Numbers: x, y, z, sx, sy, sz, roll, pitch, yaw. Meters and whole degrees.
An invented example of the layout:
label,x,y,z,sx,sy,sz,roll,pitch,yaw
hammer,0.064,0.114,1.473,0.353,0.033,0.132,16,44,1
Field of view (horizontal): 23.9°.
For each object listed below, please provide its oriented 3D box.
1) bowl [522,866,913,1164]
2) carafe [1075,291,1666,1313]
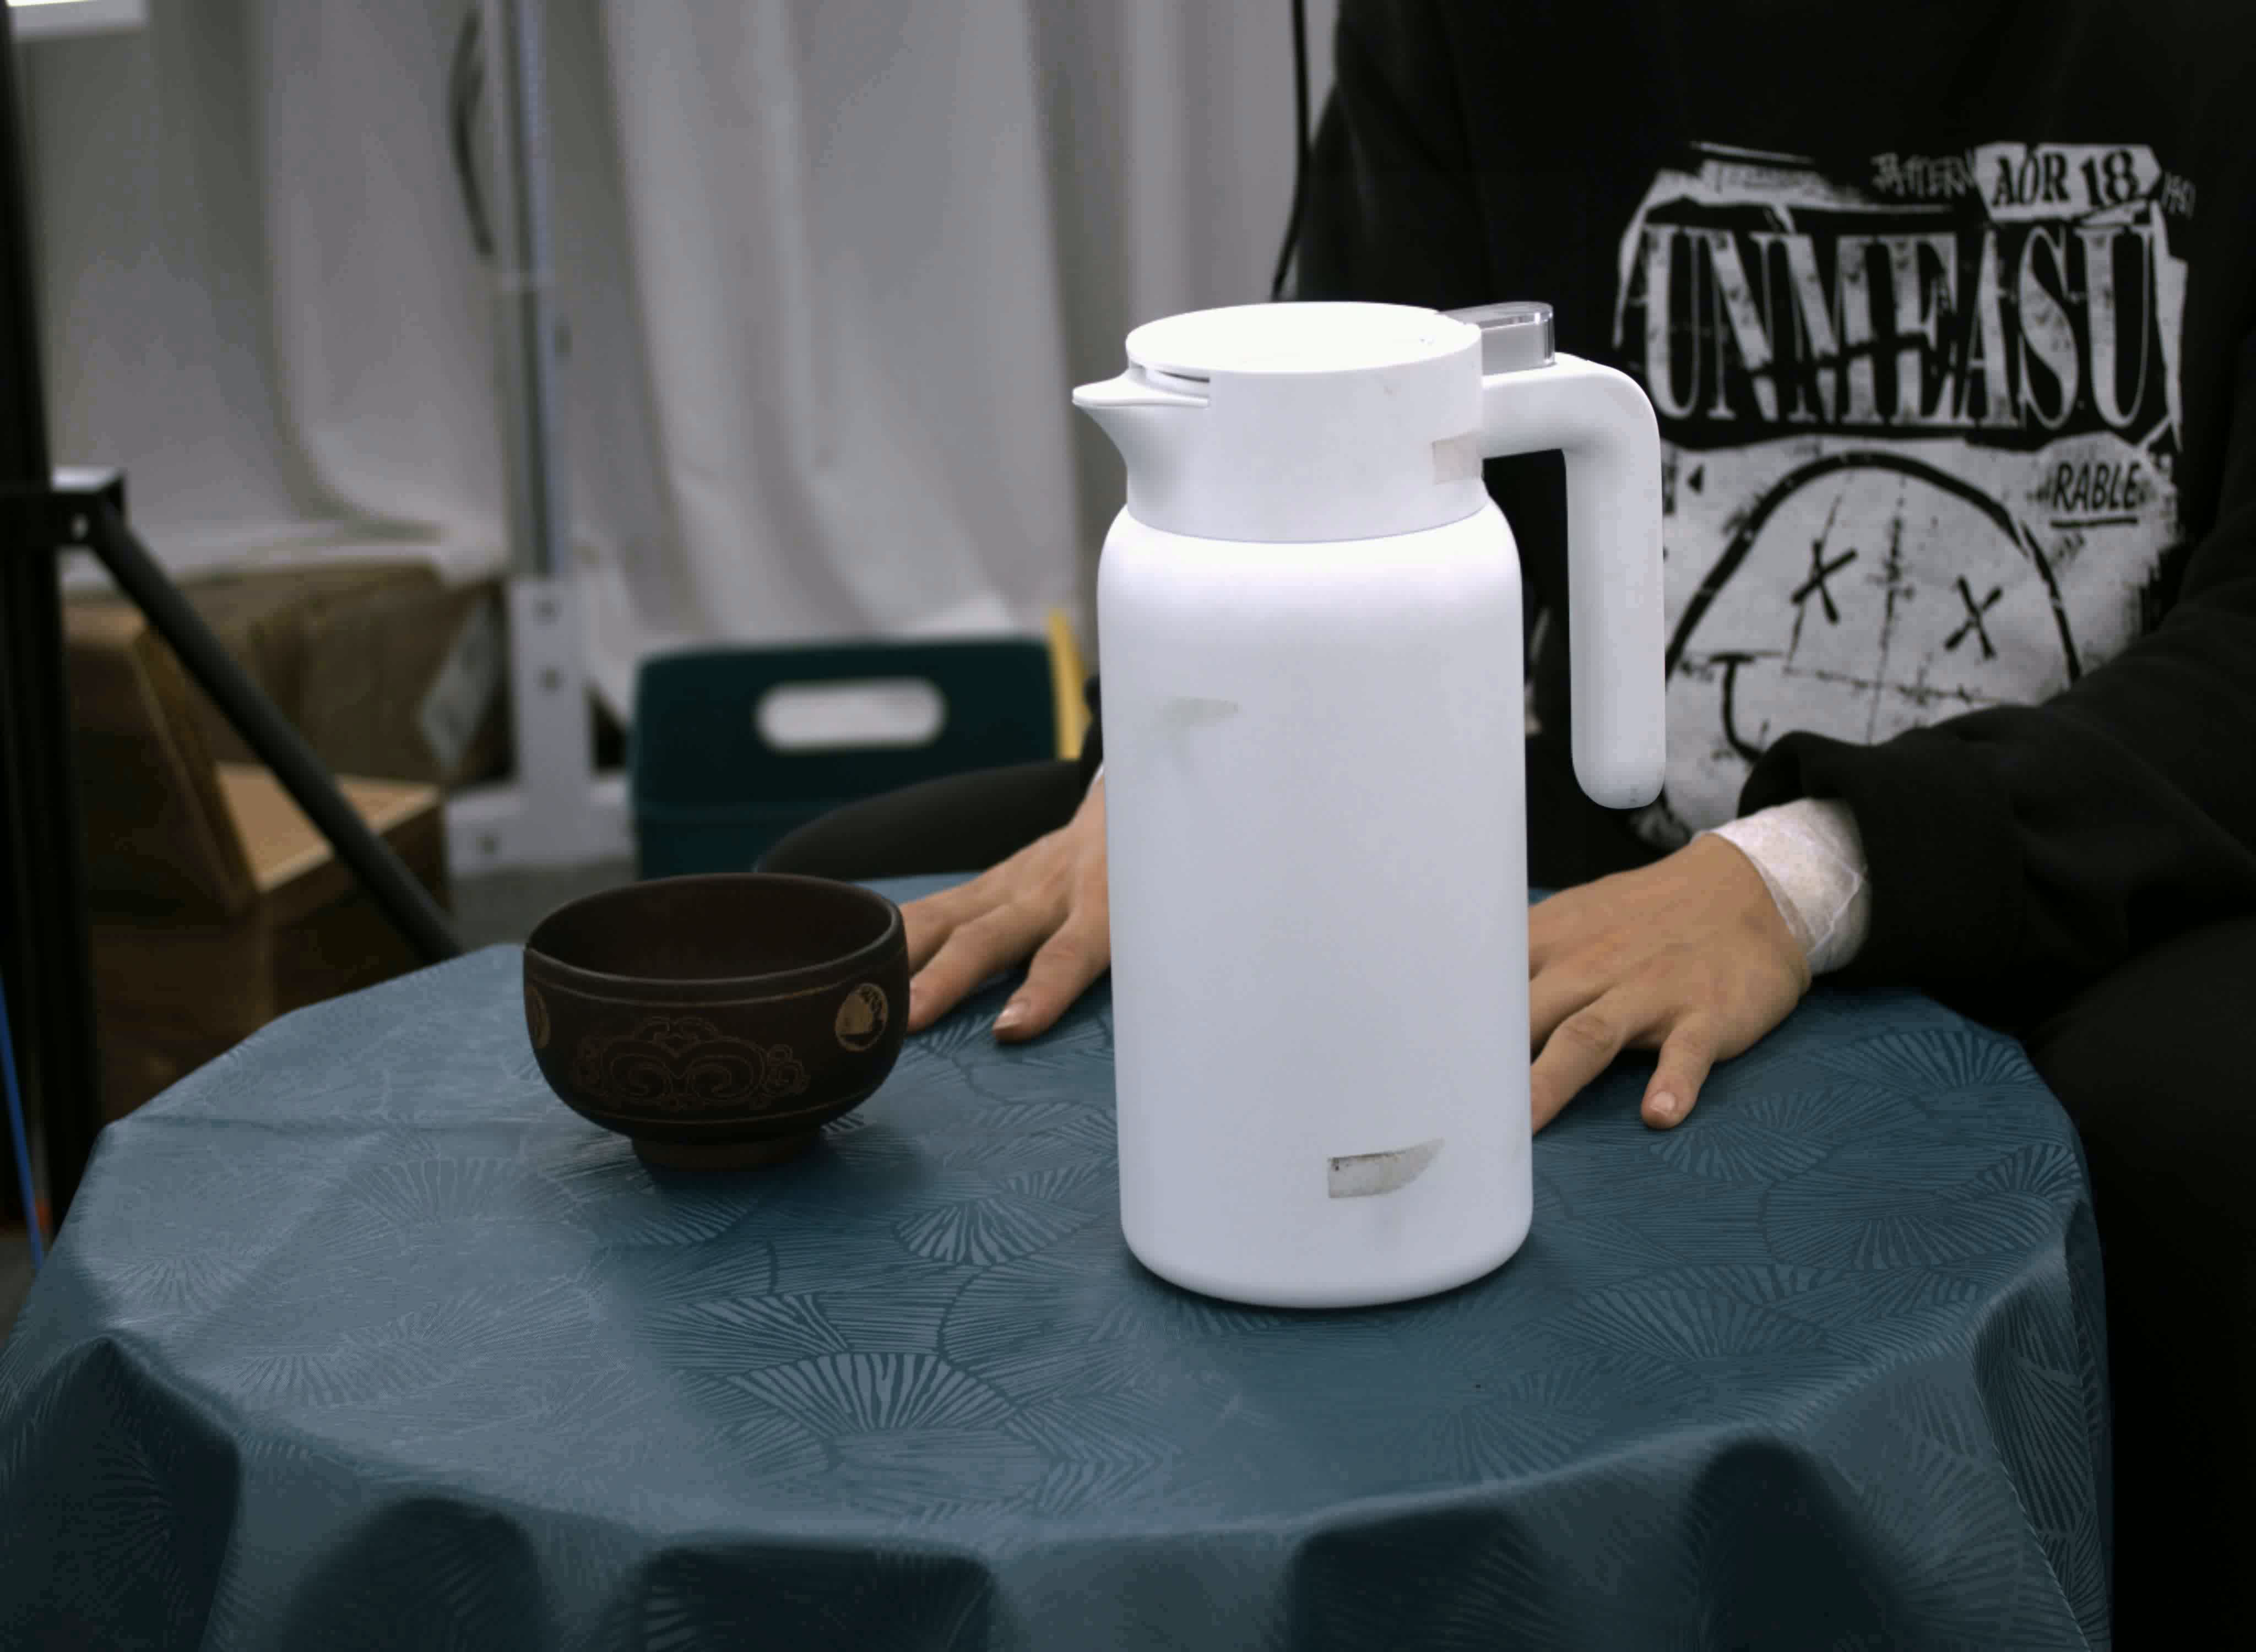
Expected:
label,x,y,z,sx,sy,sz,roll,pitch,yaw
bowl,-0.123,0.061,1.608,0.117,0.070,0.118,-3,15,-1
carafe,0.068,-0.010,1.474,0.169,0.269,0.126,-9,14,-23
